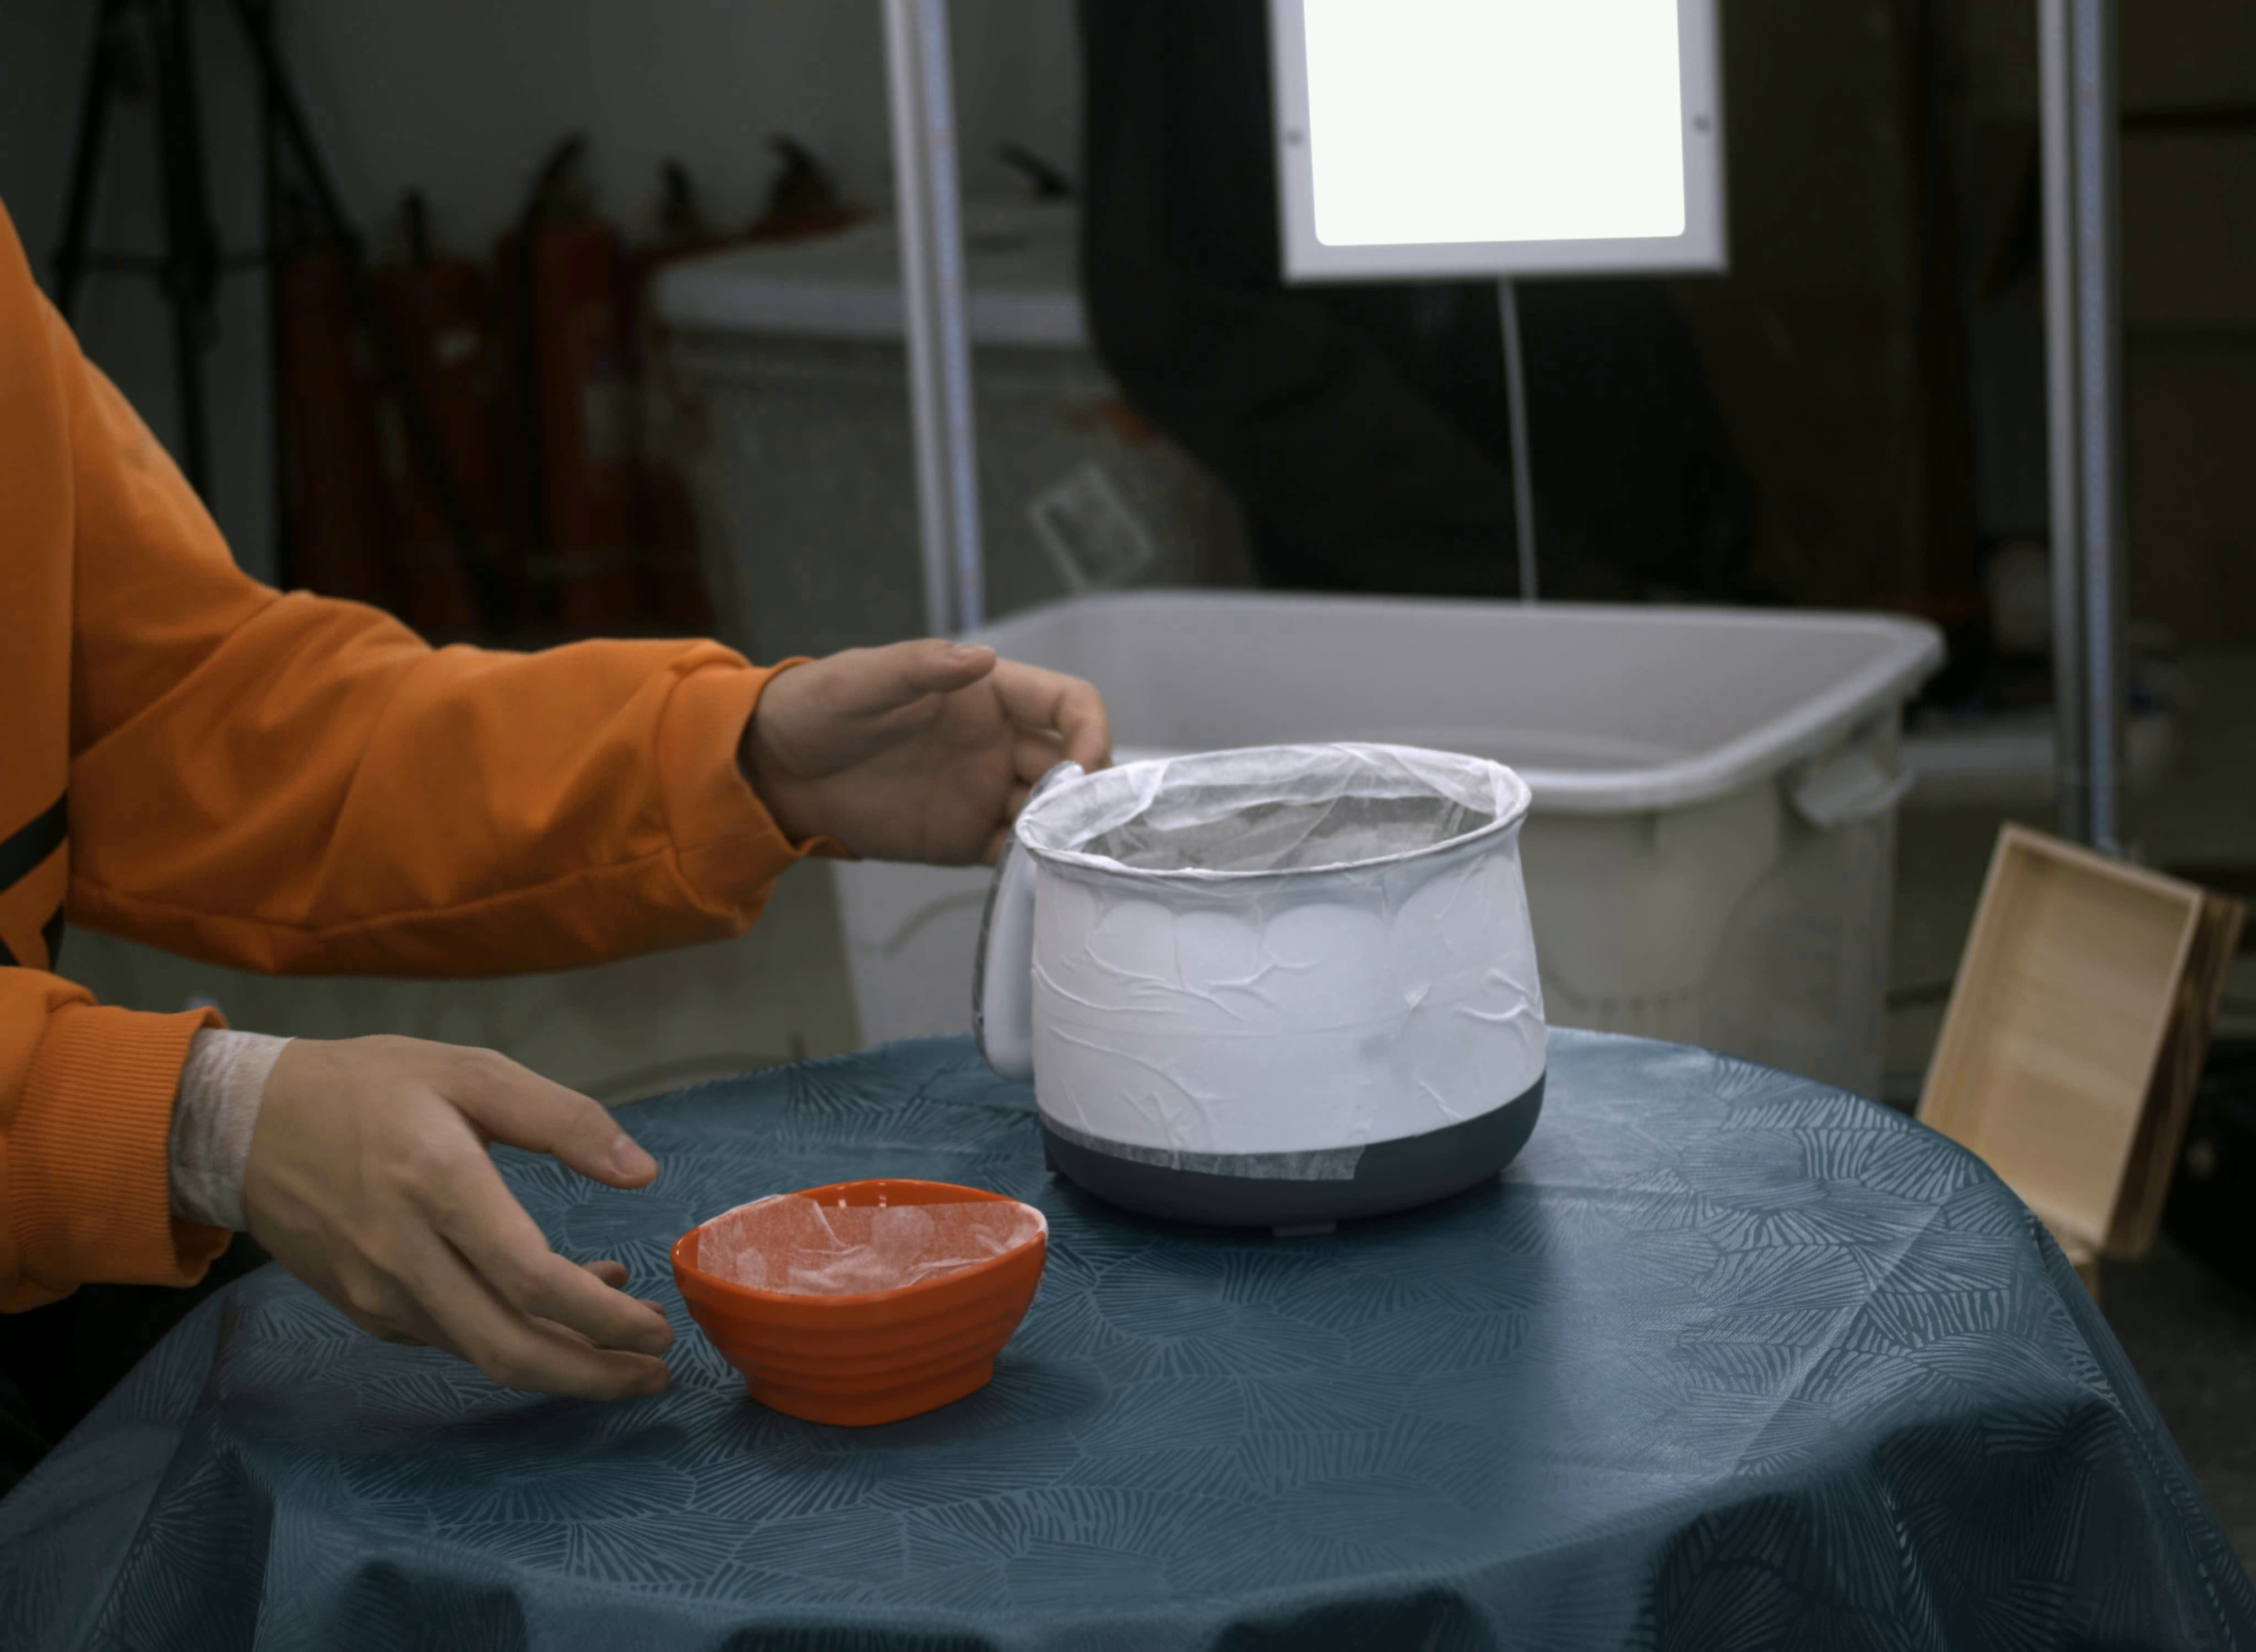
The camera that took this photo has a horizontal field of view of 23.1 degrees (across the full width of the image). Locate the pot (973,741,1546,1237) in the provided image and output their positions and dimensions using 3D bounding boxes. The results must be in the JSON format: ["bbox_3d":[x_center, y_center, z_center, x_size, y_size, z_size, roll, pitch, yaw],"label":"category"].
[{"bbox_3d":[0.034,0.051,1.904,0.239,0.137,0.174,9,19,43],"label":"pot"}]

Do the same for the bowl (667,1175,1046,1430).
[{"bbox_3d":[-0.083,0.151,1.721,0.118,0.051,0.119,-5,15,0],"label":"bowl"}]
